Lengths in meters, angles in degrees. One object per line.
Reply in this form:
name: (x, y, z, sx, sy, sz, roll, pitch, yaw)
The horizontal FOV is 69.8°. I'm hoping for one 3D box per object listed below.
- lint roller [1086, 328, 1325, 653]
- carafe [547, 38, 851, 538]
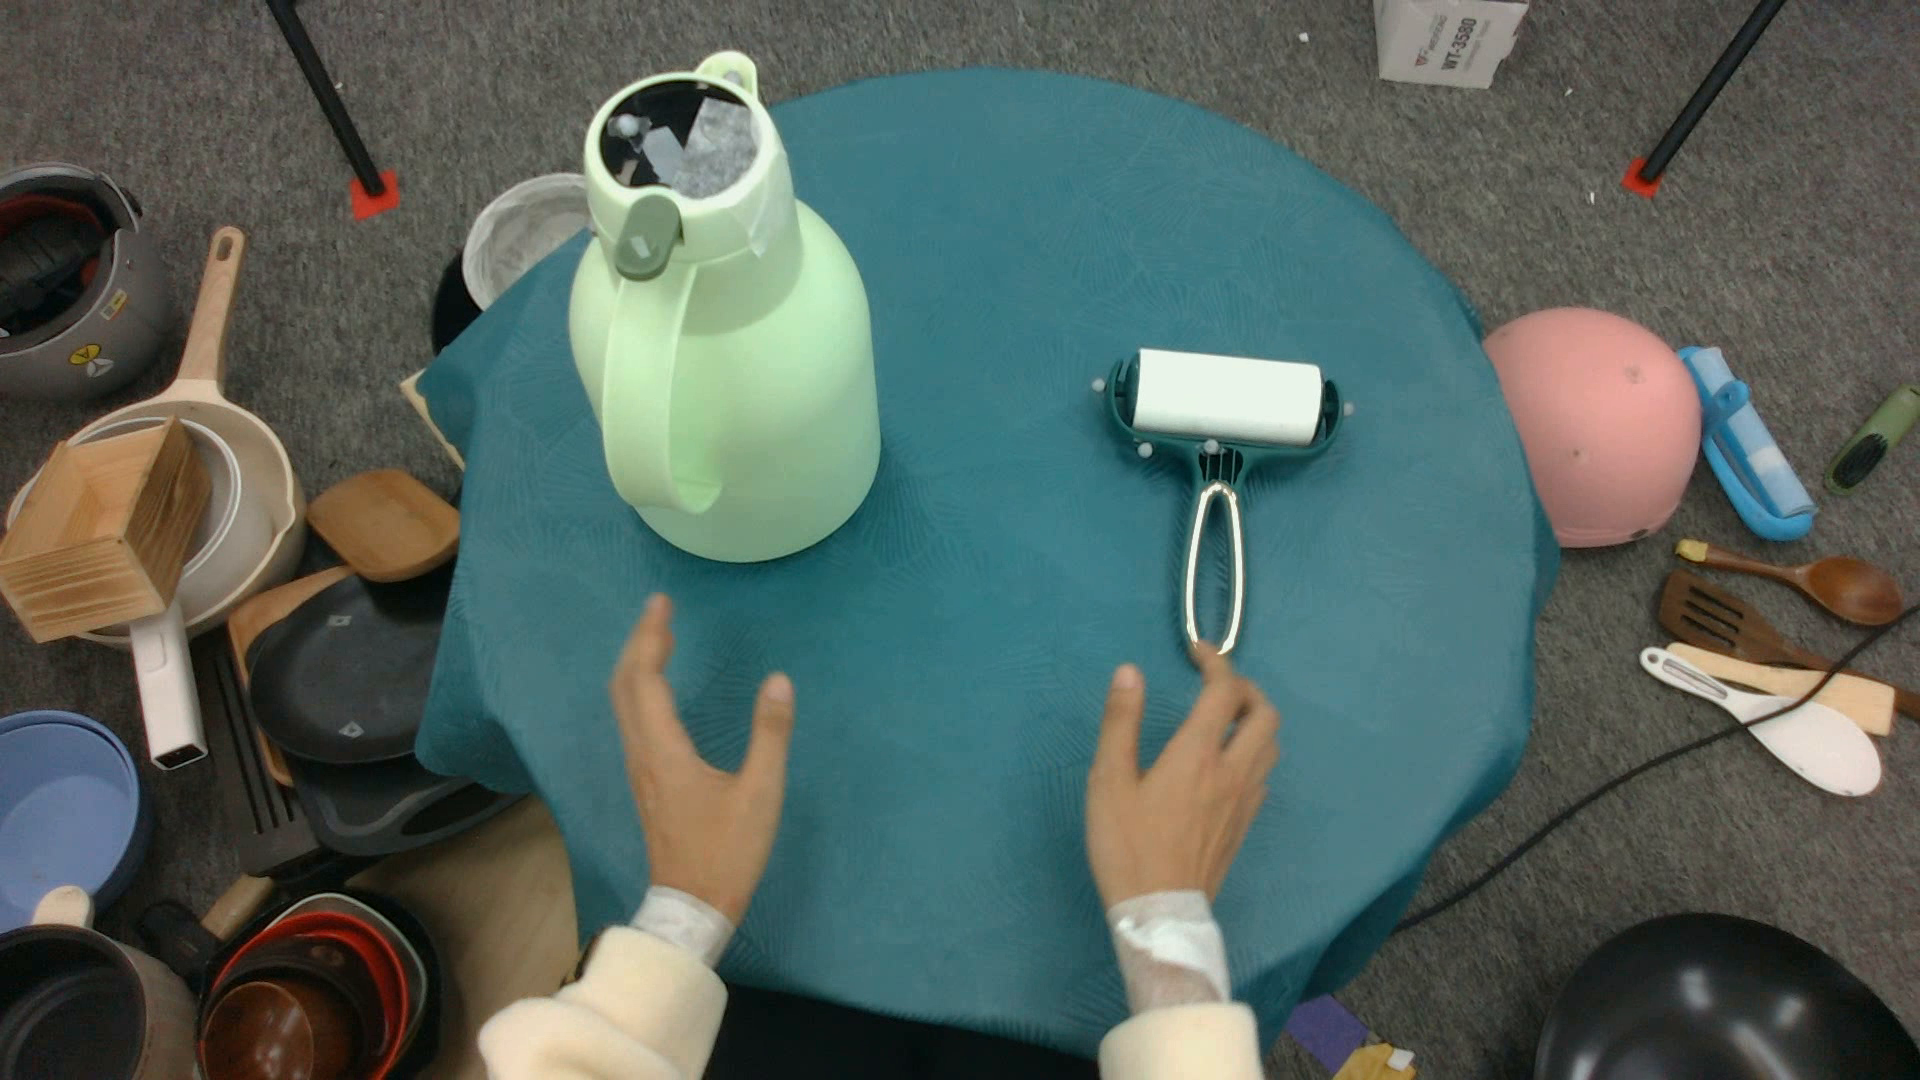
lint roller: (0.129, -0.031, 0.746, 0.134, 0.048, 0.181, 6, 64, 1)
carafe: (-0.128, -0.099, 0.655, 0.144, 0.256, 0.187, 11, 68, 1)
